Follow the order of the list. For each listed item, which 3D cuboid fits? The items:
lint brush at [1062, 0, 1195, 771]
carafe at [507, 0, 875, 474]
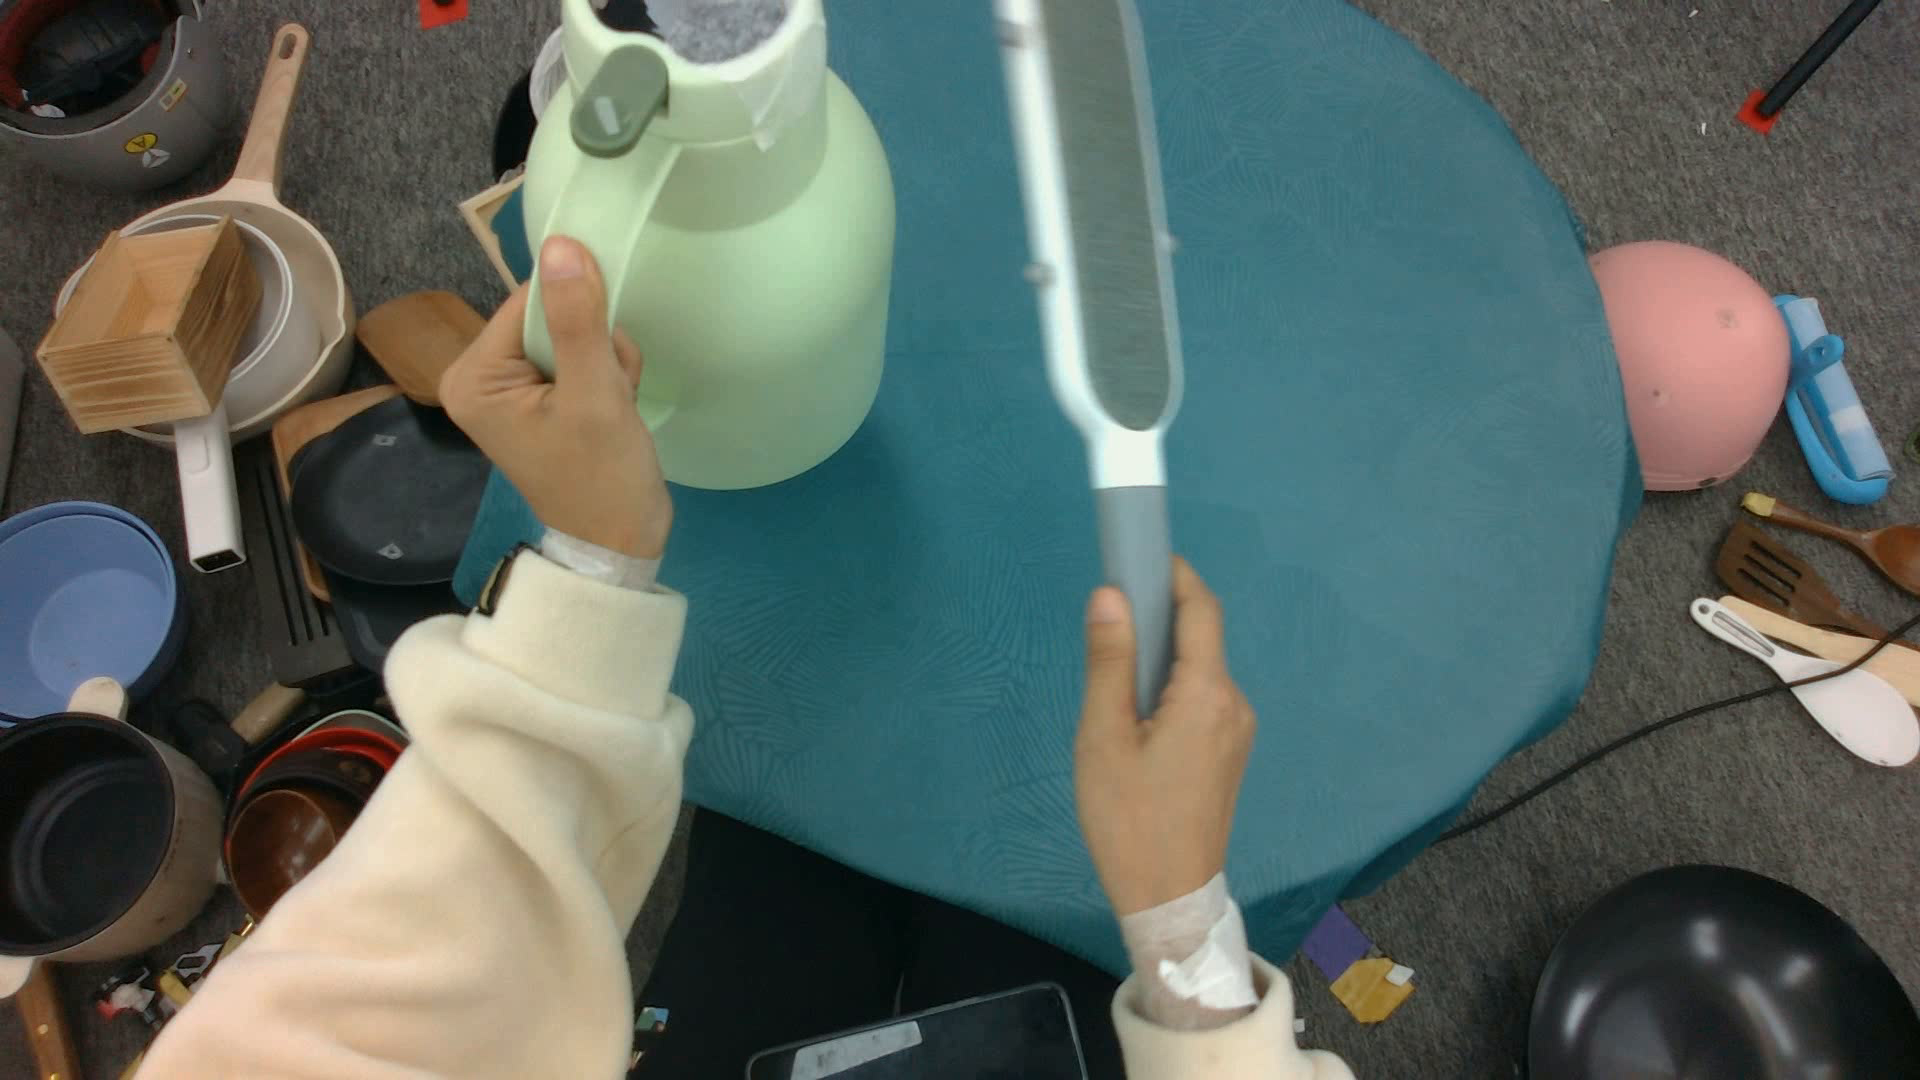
[{"bbox_3d":[0.066,-0.068,0.524,0.060,0.021,0.309,2,84,-42],"label":"lint brush"},{"bbox_3d":[-0.109,-0.119,0.537,0.144,0.256,0.187,23,73,-1],"label":"carafe"}]
